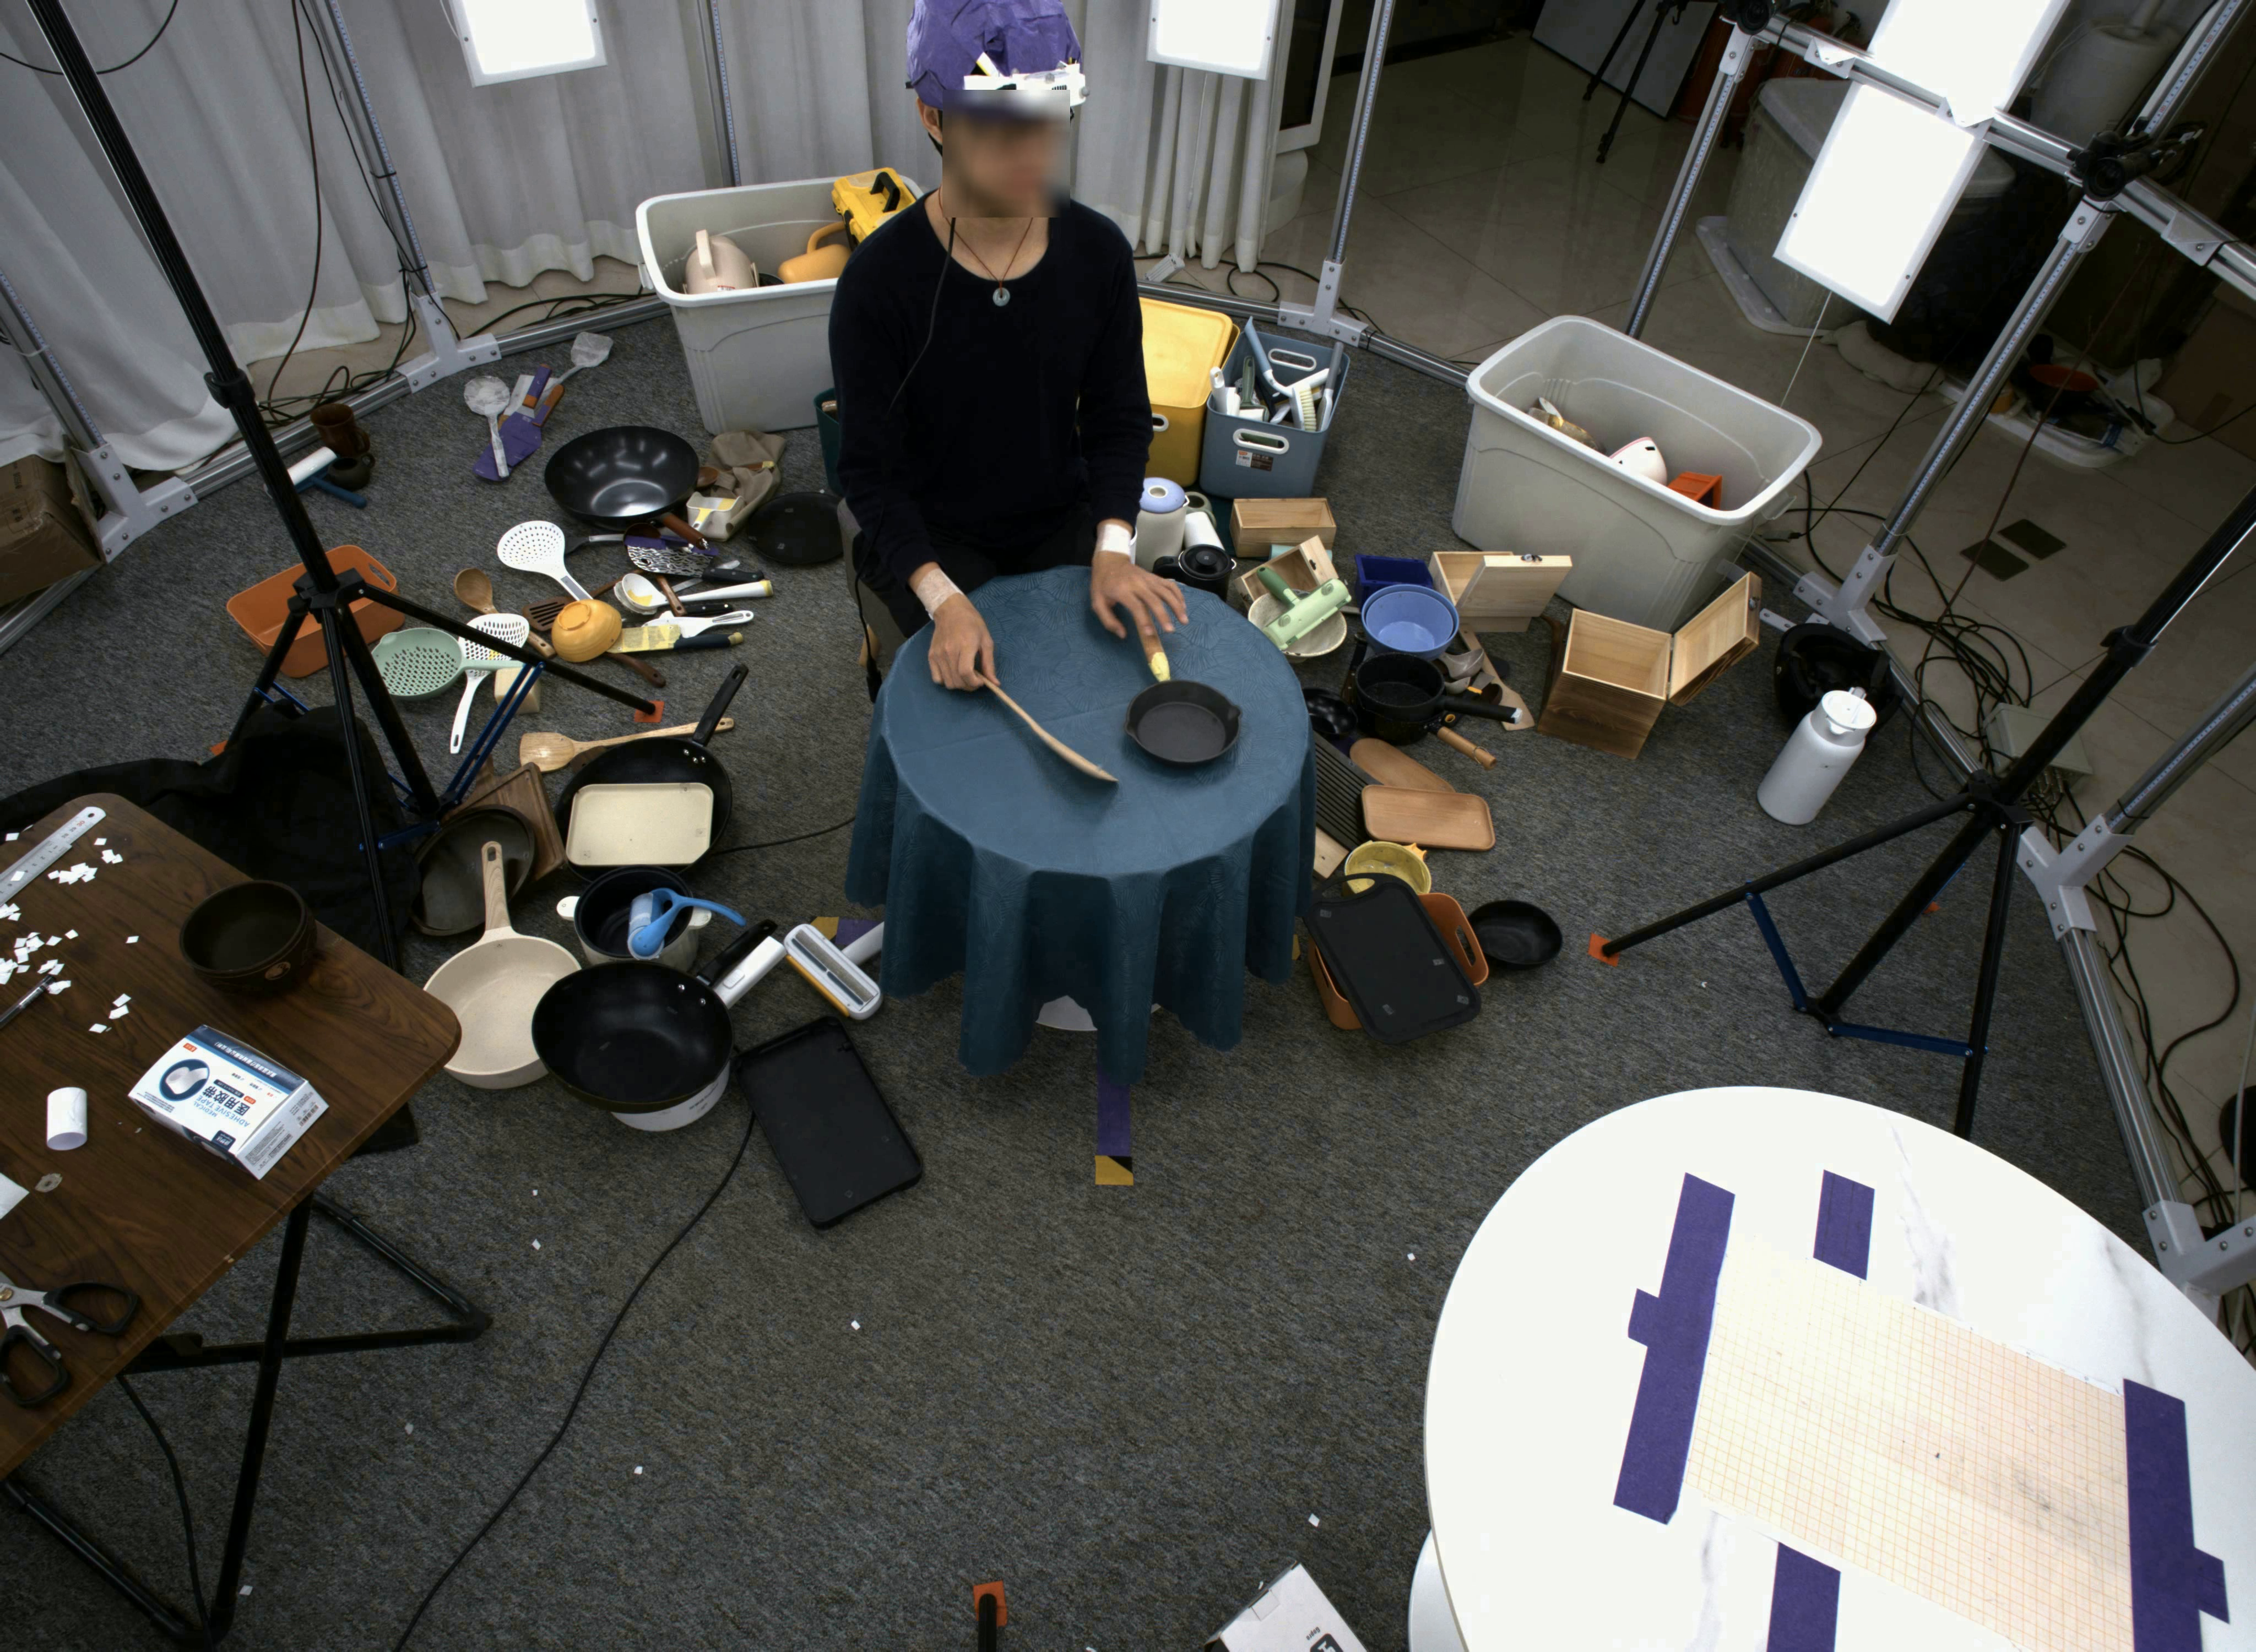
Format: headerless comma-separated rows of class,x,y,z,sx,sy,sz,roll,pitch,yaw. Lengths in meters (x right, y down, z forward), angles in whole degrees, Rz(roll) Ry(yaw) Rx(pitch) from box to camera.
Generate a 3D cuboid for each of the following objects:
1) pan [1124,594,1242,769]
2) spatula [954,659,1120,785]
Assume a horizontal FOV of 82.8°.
pan,0.055,-0.206,1.819,0.169,0.048,0.332,-9,52,-11
spatula,-0.132,-0.144,1.758,0.333,0.016,0.079,42,21,29
